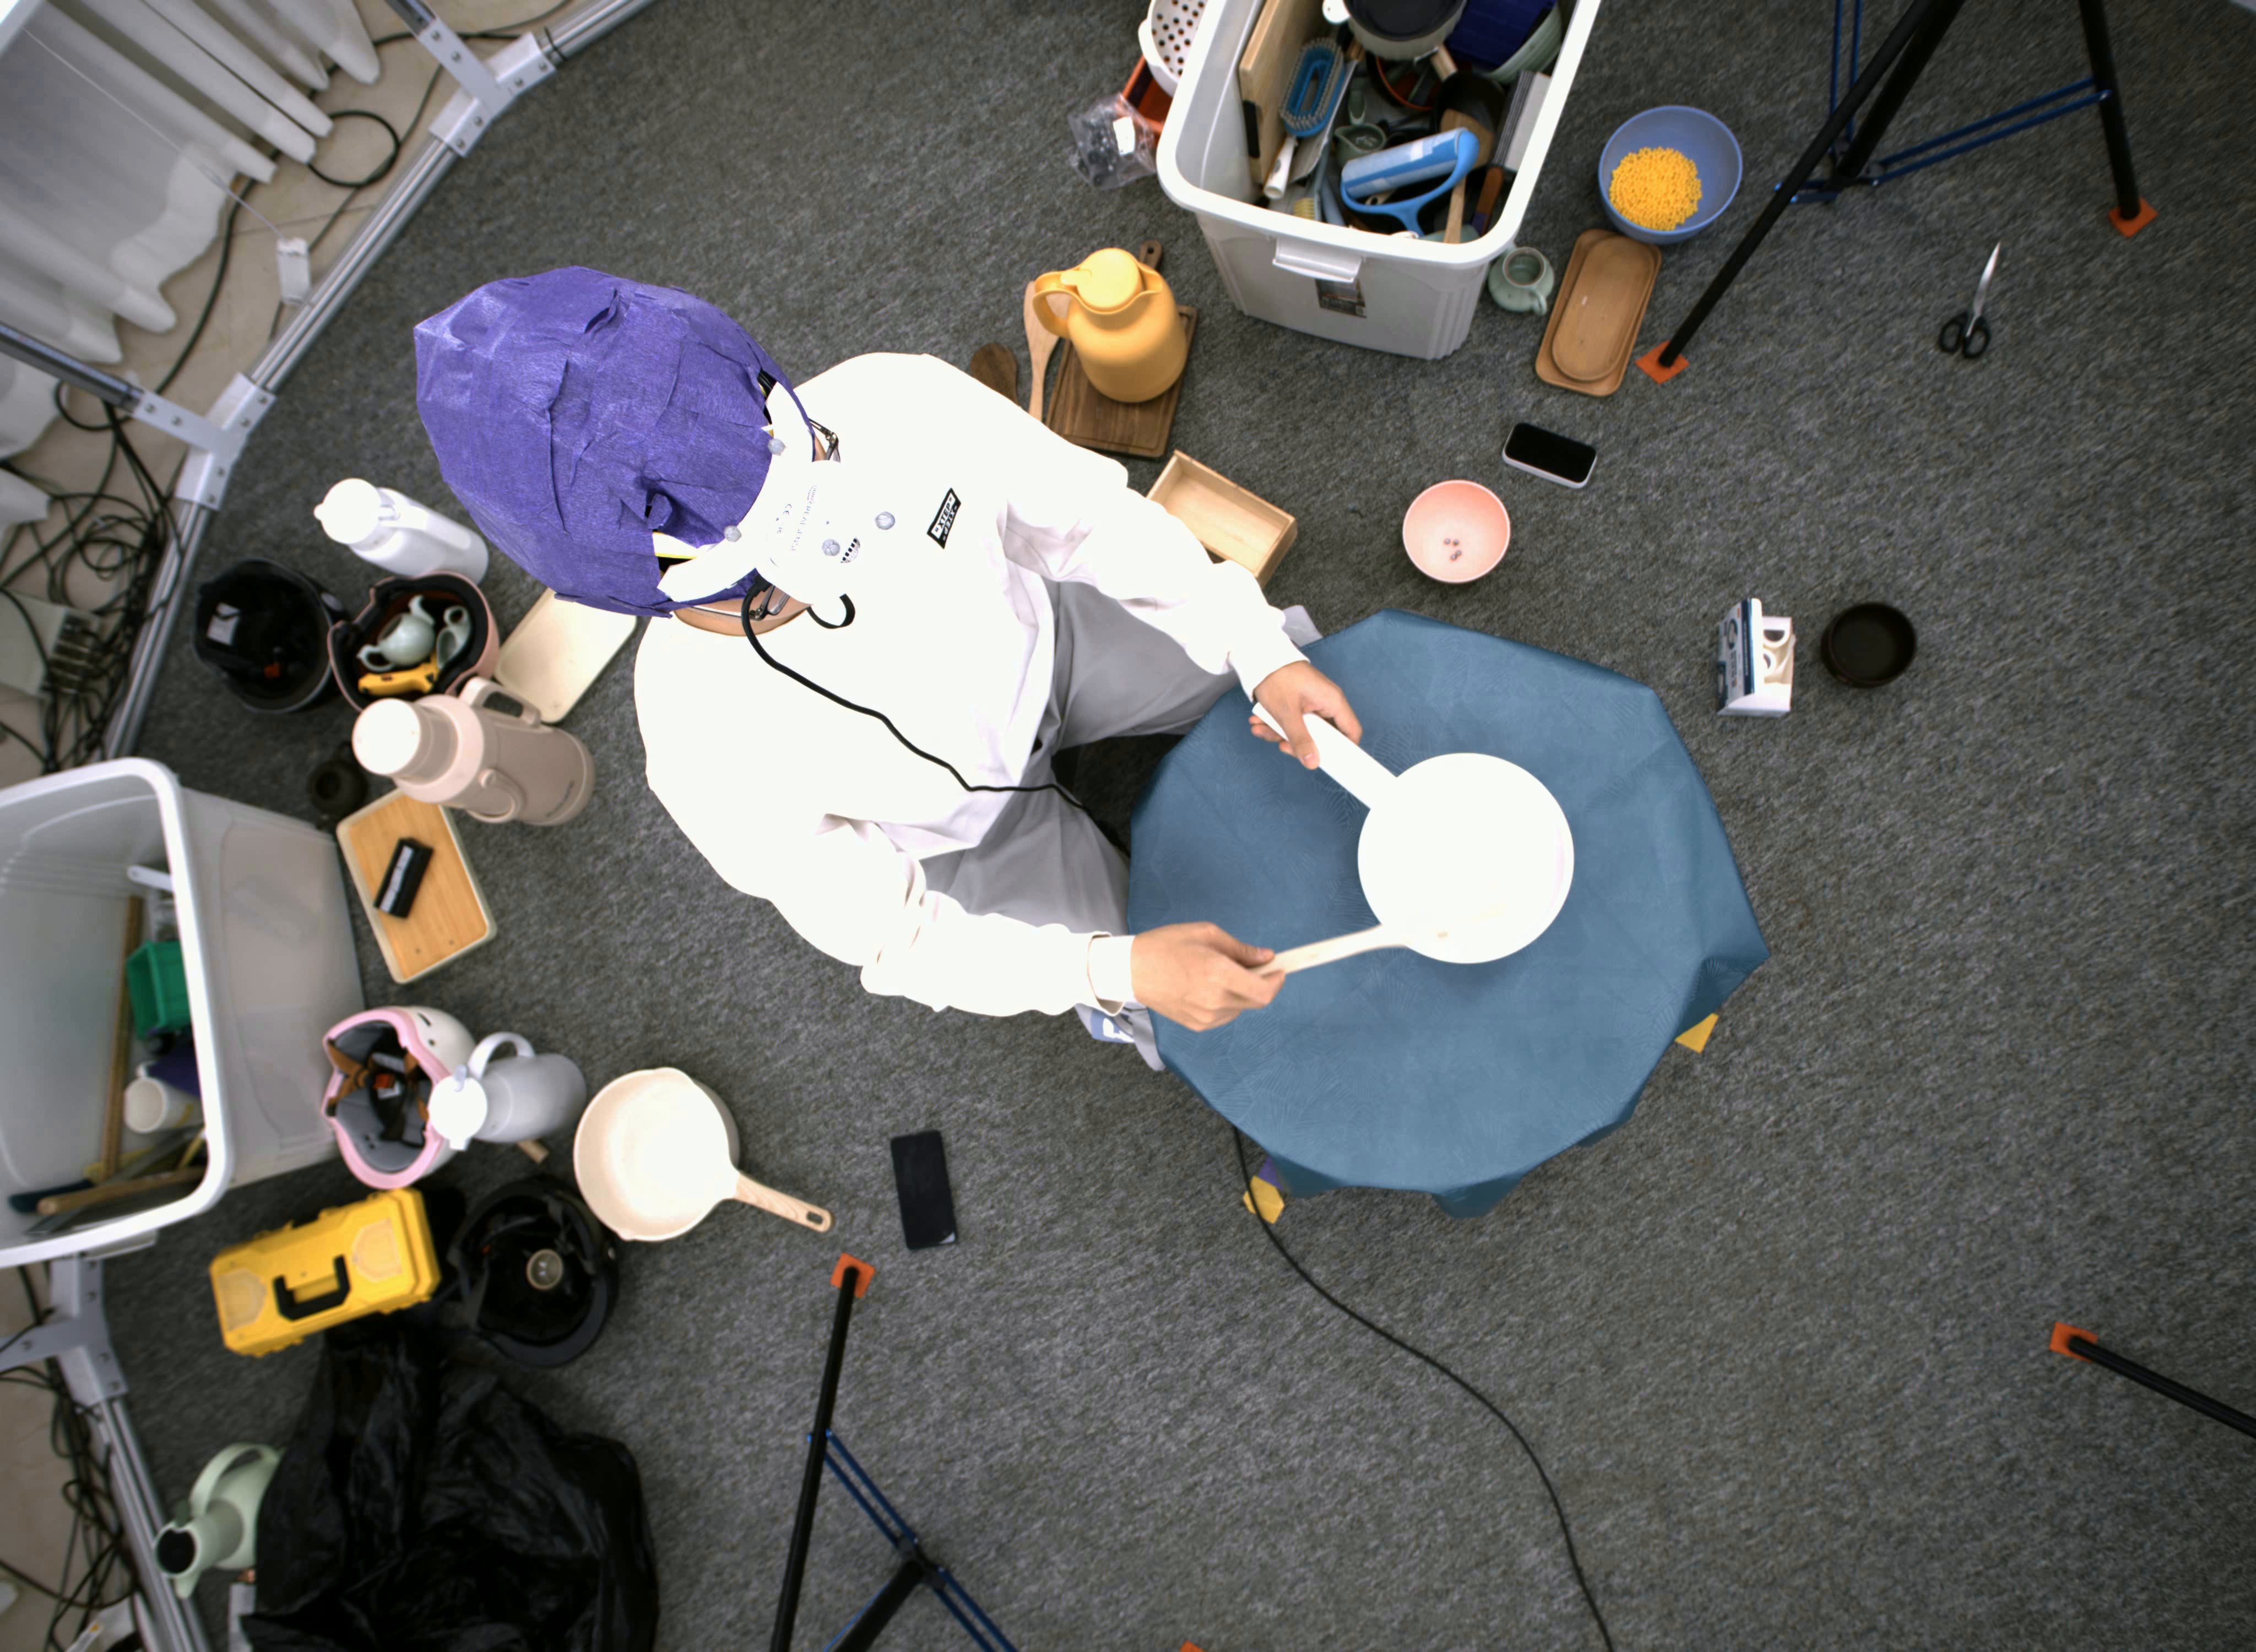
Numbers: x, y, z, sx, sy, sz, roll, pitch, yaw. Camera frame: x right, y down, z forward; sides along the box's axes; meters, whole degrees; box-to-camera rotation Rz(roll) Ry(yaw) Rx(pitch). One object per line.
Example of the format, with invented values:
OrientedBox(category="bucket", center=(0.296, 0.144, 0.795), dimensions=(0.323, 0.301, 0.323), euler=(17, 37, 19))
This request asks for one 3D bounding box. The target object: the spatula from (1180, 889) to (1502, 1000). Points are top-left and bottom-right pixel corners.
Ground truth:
OrientedBox(category="spatula", center=(0.186, 0.112, 1.236), dimensions=(0.295, 0.070, 0.011), euler=(-16, 116, 11))

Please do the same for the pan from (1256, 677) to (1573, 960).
OrientedBox(category="pan", center=(0.277, -0.019, 1.379), dimensions=(0.353, 0.102, 0.202), euler=(41, 98, 13))
